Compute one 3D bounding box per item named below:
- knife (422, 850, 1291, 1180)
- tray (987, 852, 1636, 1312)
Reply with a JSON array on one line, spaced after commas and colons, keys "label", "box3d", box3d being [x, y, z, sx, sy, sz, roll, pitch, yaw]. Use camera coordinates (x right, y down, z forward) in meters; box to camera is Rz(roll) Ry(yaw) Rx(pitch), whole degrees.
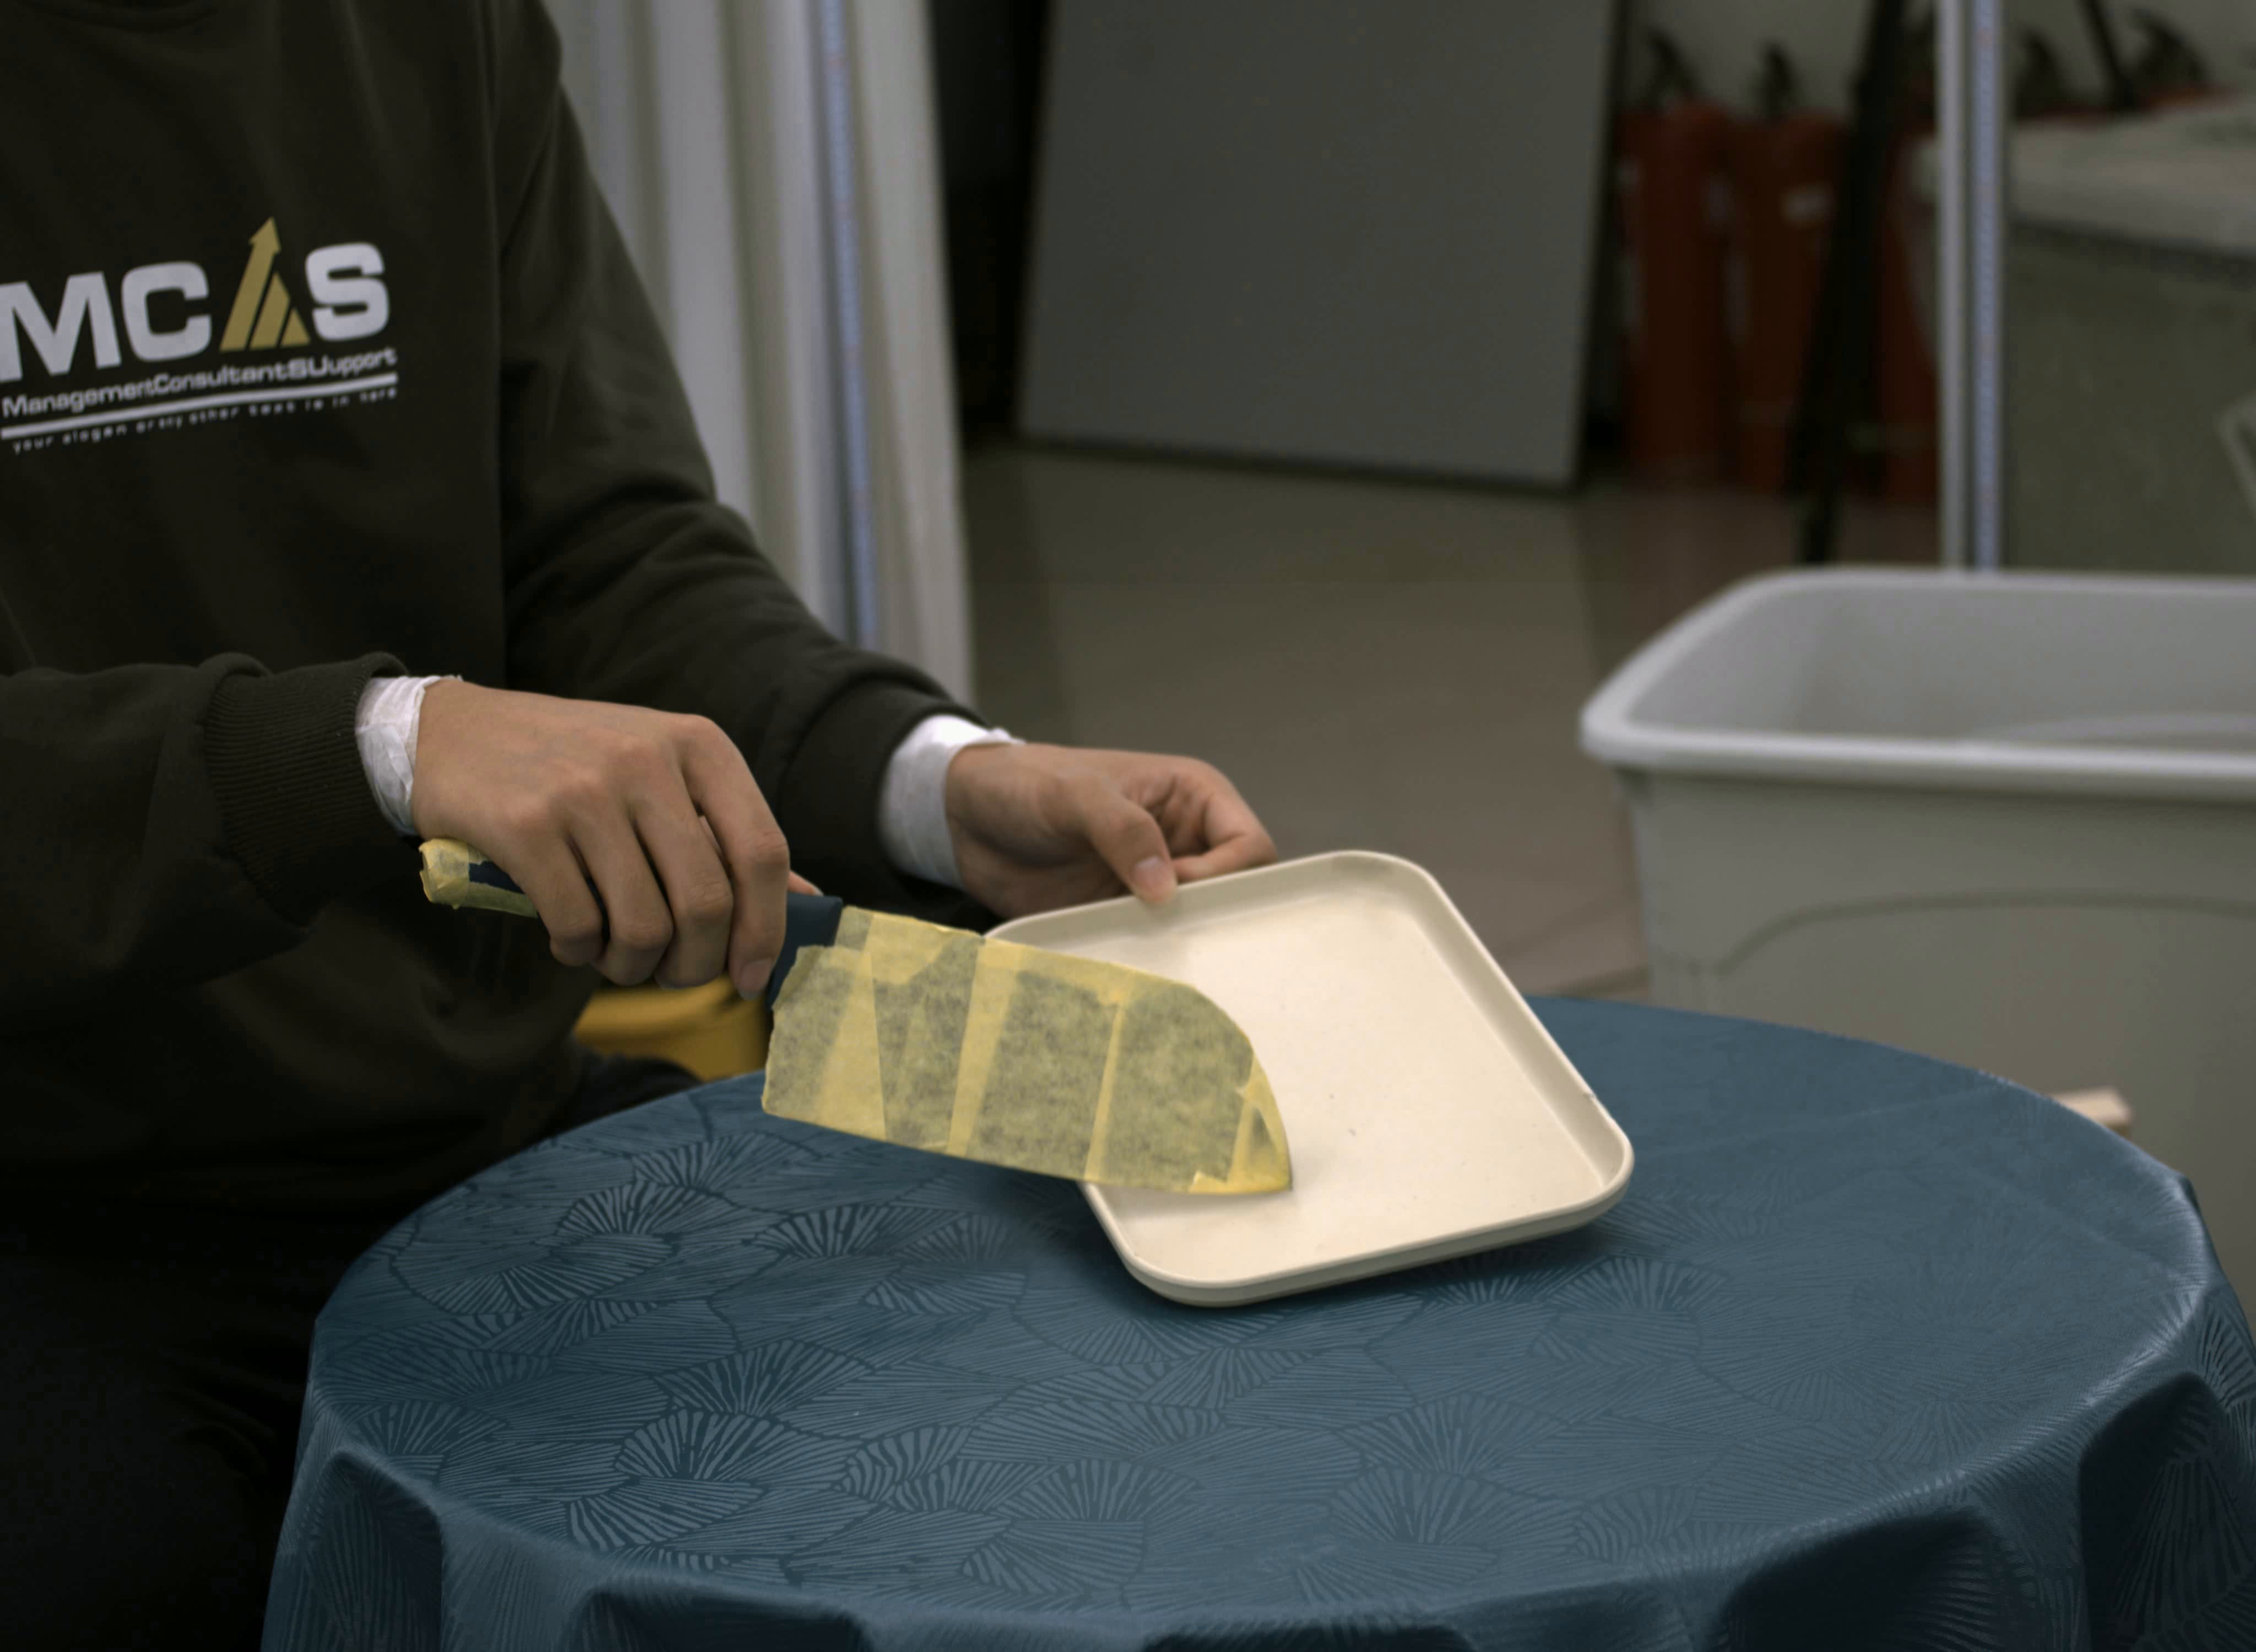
[{"label": "knife", "box3d": [-0.086, 0.059, 1.704, 0.286, 0.082, 0.027, 14, -19, -2]}, {"label": "tray", "box3d": [0.053, 0.081, 1.757, 0.168, 0.017, 0.242, -13, 30, -12]}]
